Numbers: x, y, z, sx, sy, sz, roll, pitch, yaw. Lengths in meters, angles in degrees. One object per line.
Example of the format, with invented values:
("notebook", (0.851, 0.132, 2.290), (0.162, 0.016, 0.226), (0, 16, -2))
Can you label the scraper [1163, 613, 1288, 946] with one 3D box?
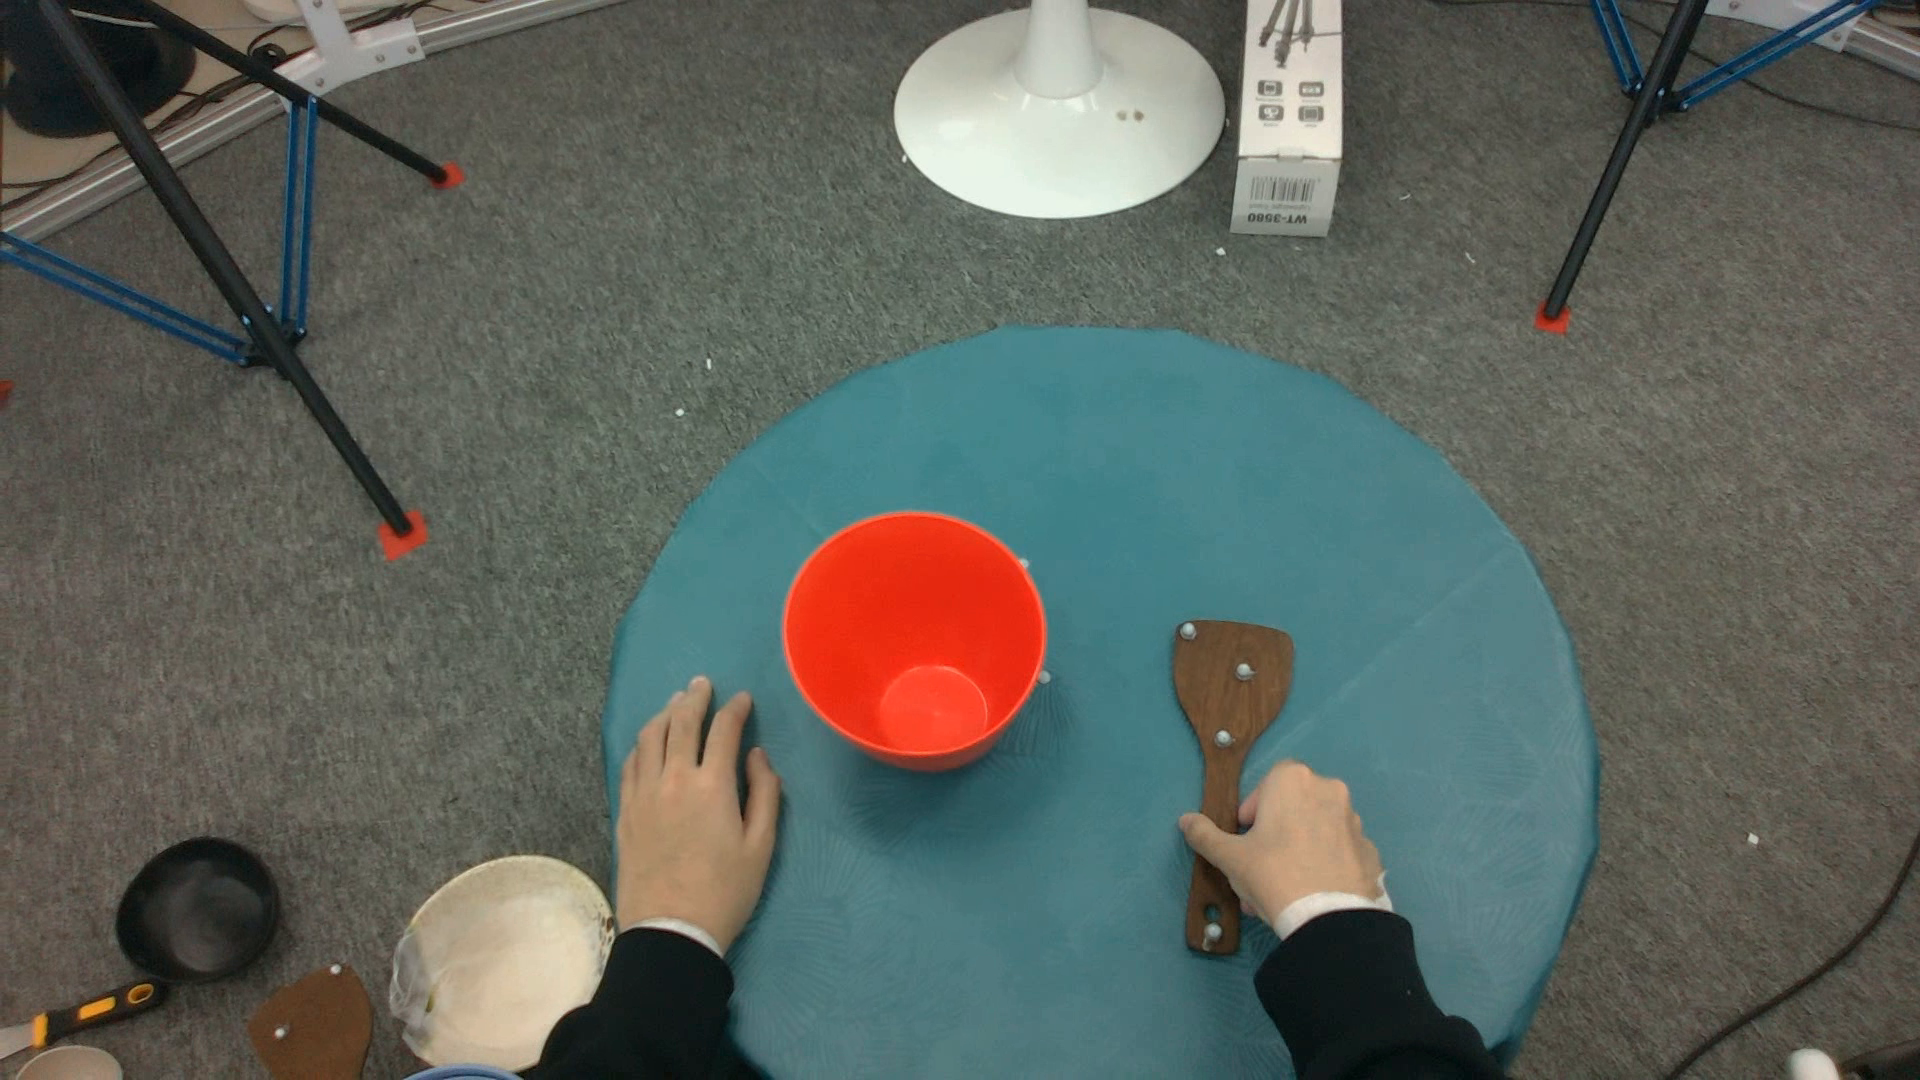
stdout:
("scraper", (0.150, 0.134, 0.805), (0.076, 0.011, 0.212), (7, 55, 8))

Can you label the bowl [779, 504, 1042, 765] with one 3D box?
("bowl", (-0.026, 0.068, 0.804), (0.148, 0.104, 0.148), (0, 56, 0))
